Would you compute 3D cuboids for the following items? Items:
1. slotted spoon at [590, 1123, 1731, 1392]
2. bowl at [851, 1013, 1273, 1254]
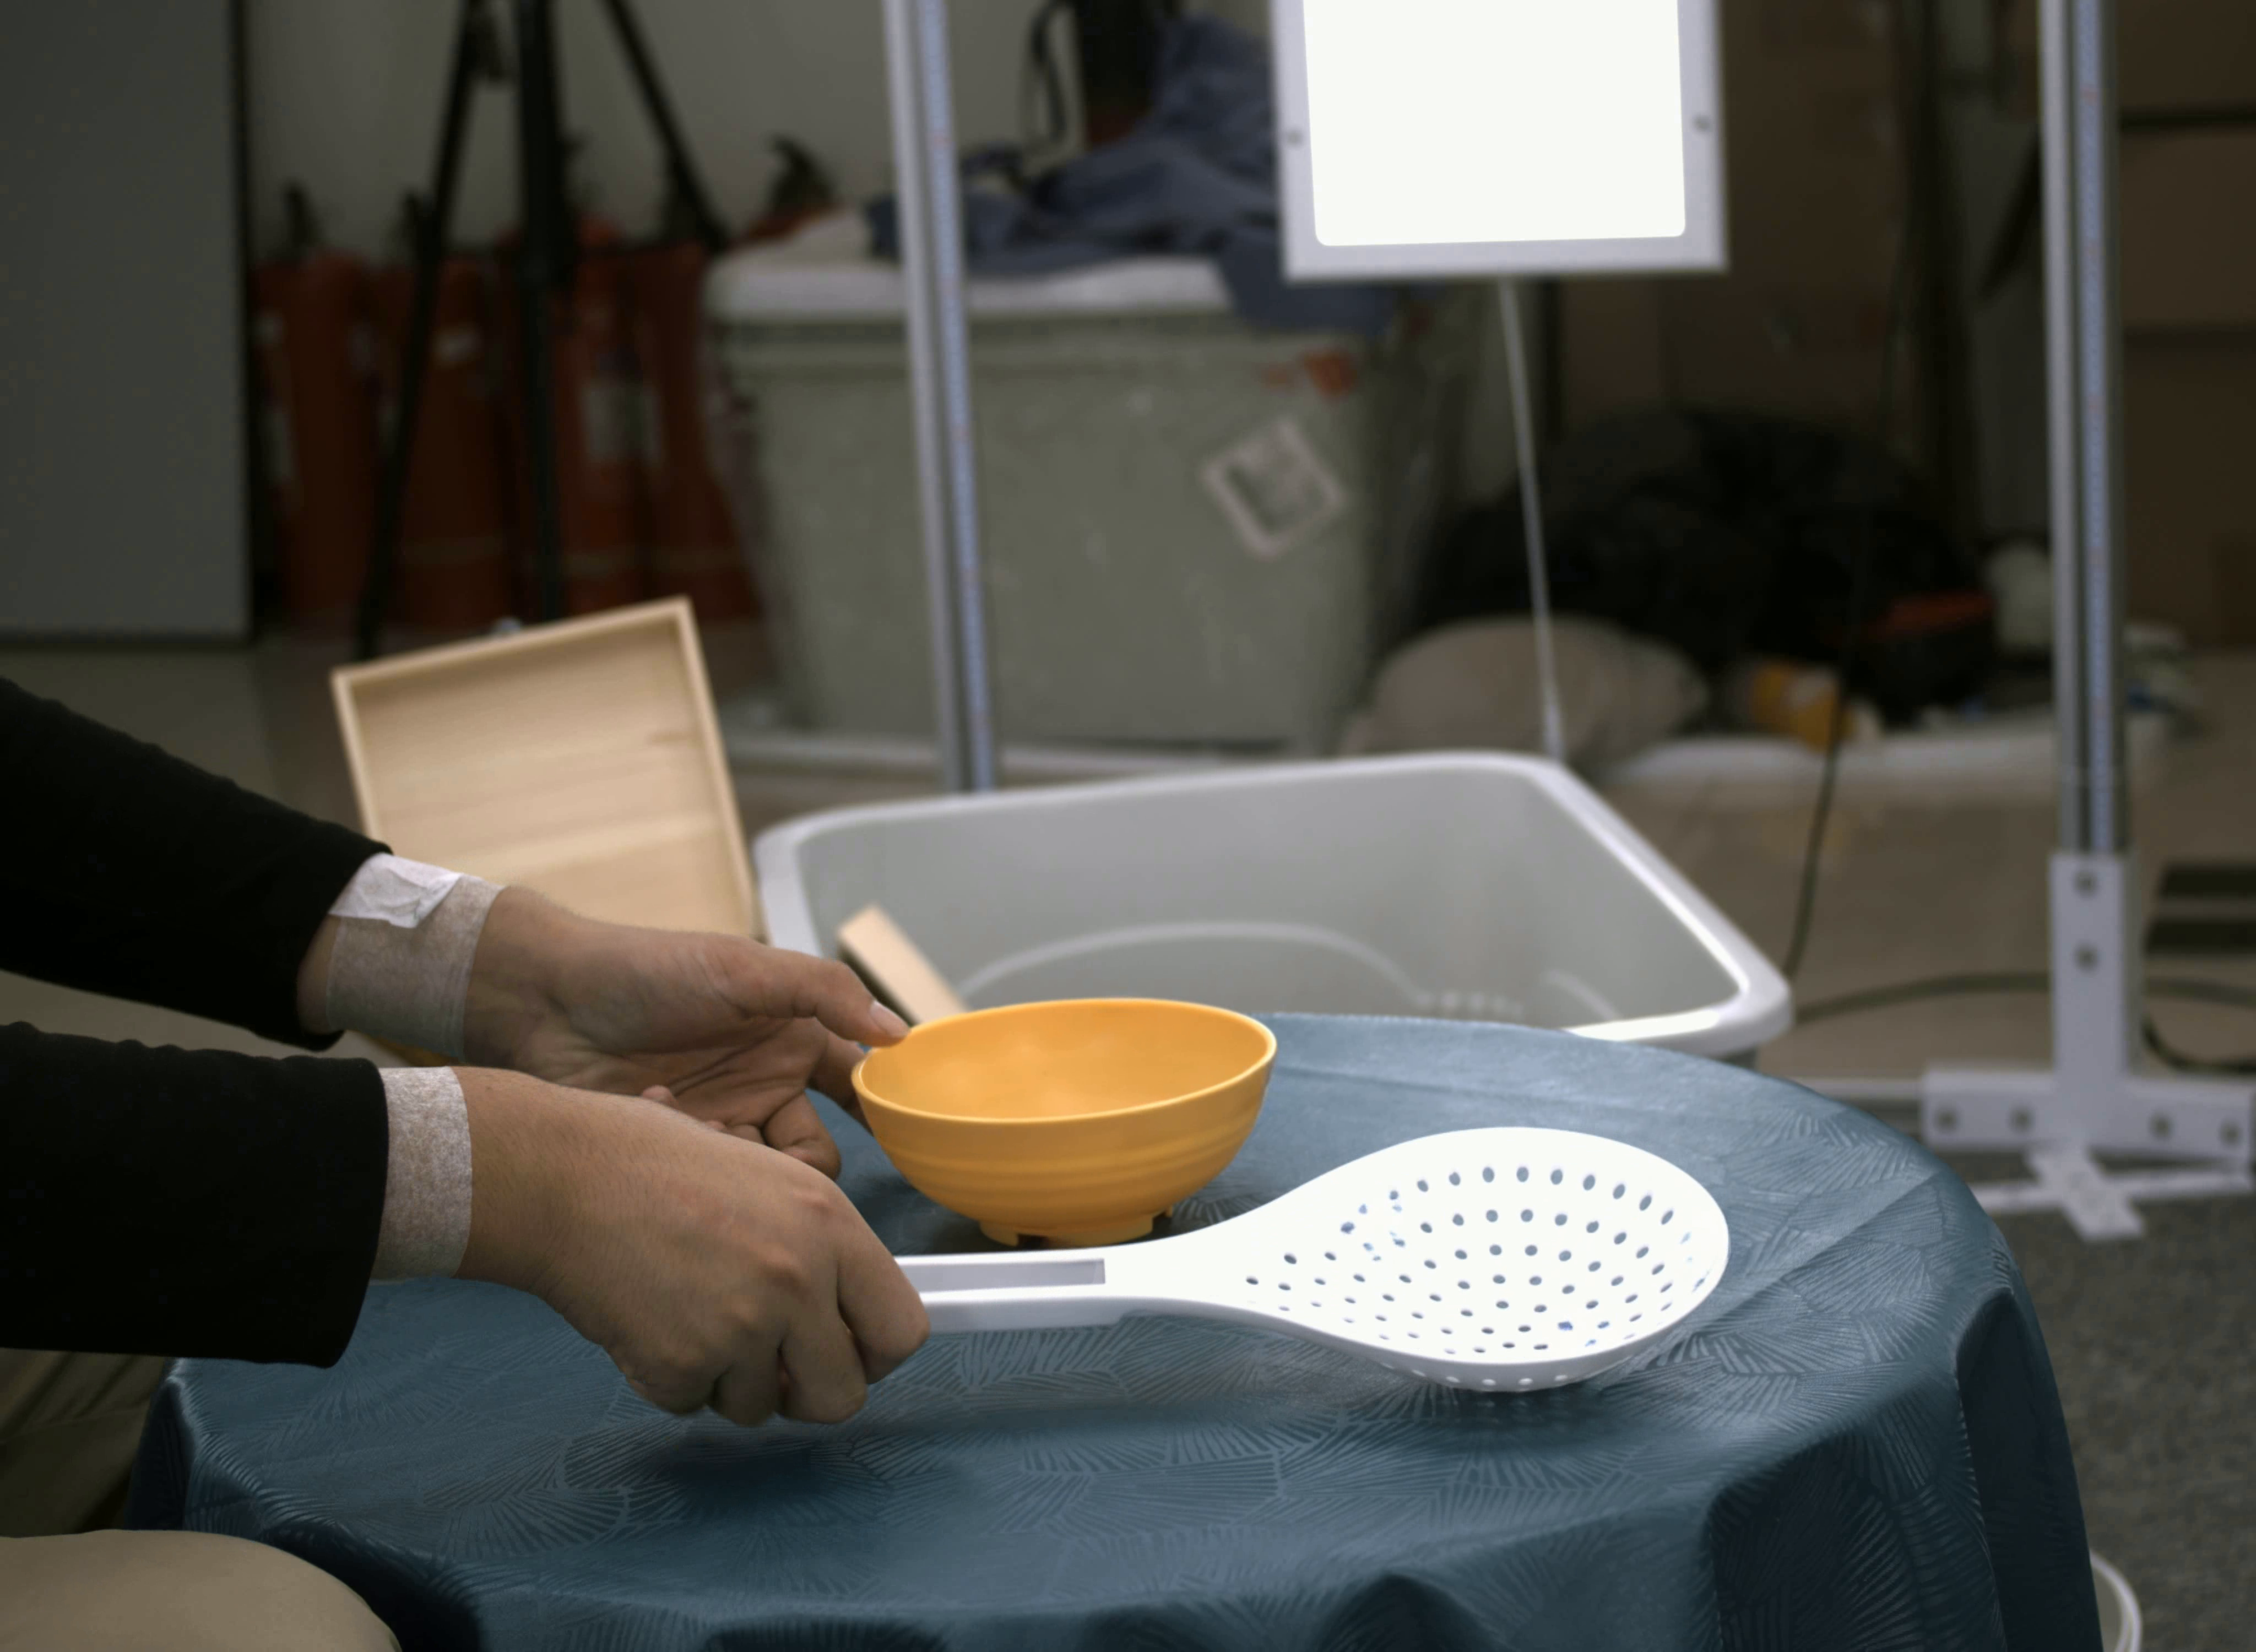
[{"bbox_3d":[0.009,0.141,1.689,0.349,0.046,0.135,0,28,0],"label":"slotted spoon"},{"bbox_3d":[-0.021,0.108,1.865,0.145,0.060,0.145,-4,12,0],"label":"bowl"}]
